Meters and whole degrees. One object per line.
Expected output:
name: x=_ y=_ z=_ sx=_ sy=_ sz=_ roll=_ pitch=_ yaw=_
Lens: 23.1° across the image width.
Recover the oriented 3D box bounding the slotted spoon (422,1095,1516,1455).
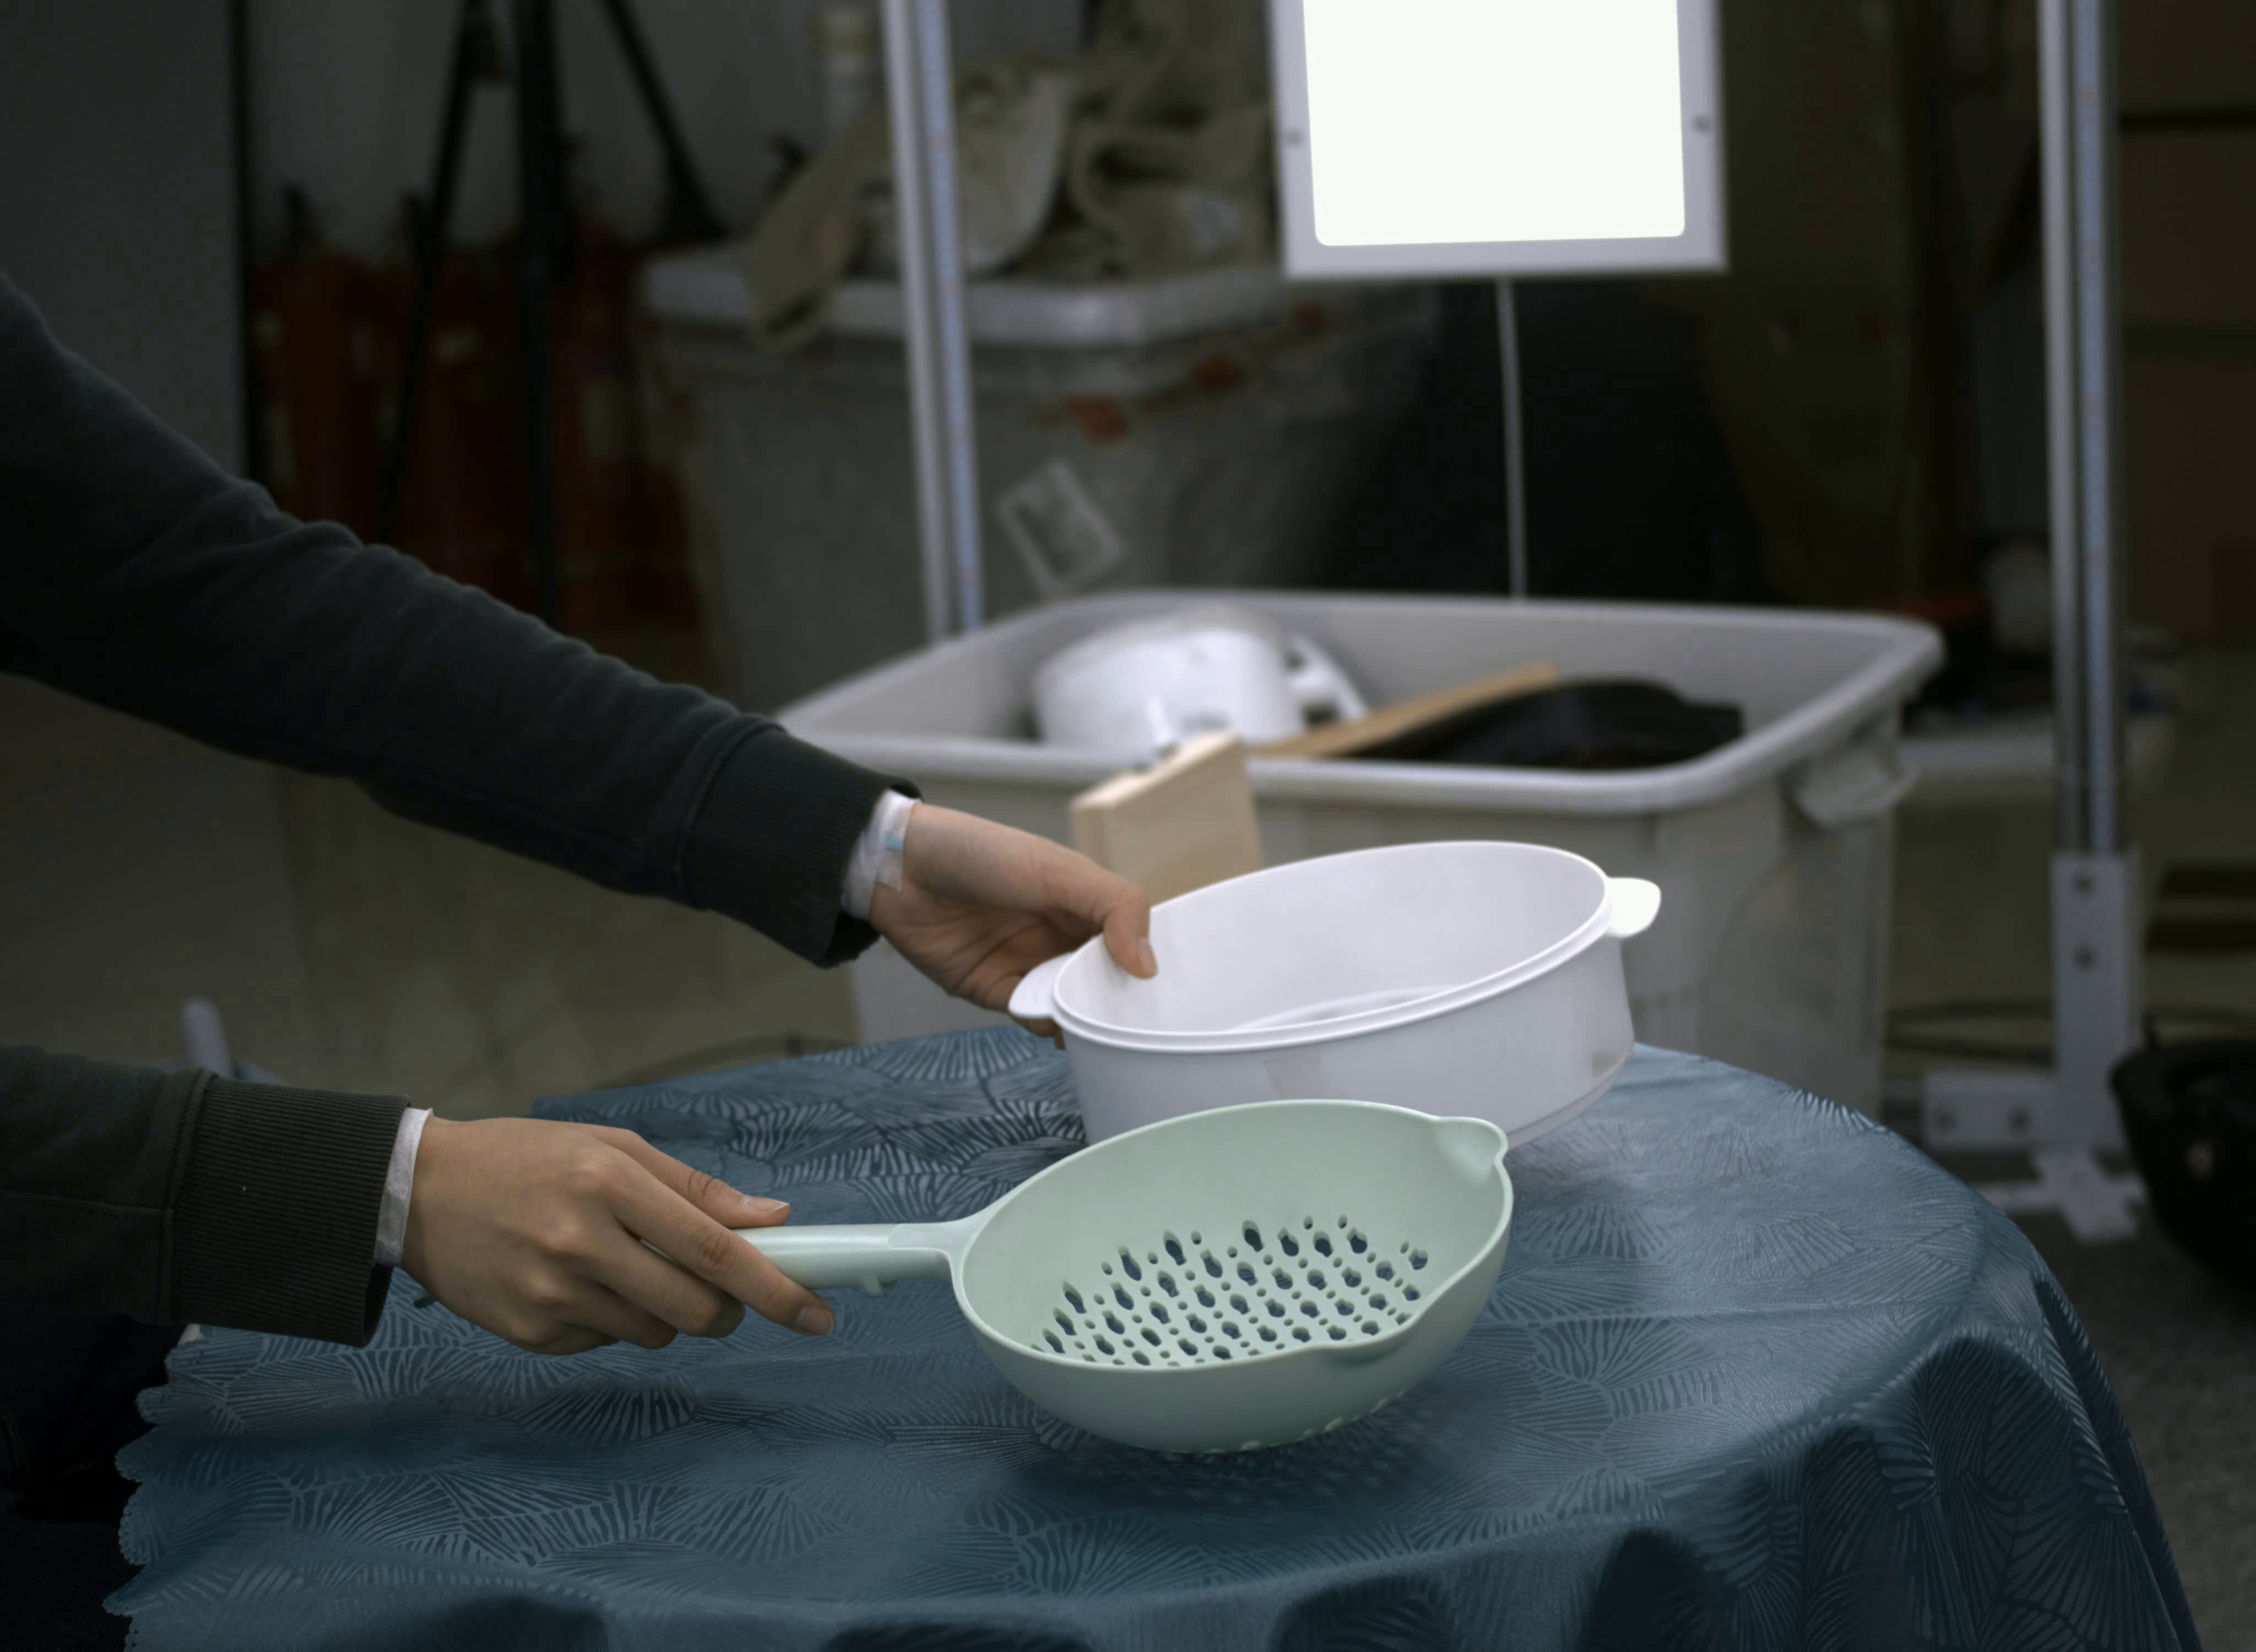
slotted spoon: x=-0.057 y=0.136 z=1.691 sx=0.363 sy=0.076 sz=0.166 roll=5 pitch=26 yaw=19

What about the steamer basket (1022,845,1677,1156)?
steamer basket: x=0.081 y=0.068 z=1.899 sx=0.233 sy=0.069 sz=0.199 roll=-9 pitch=14 yaw=15
